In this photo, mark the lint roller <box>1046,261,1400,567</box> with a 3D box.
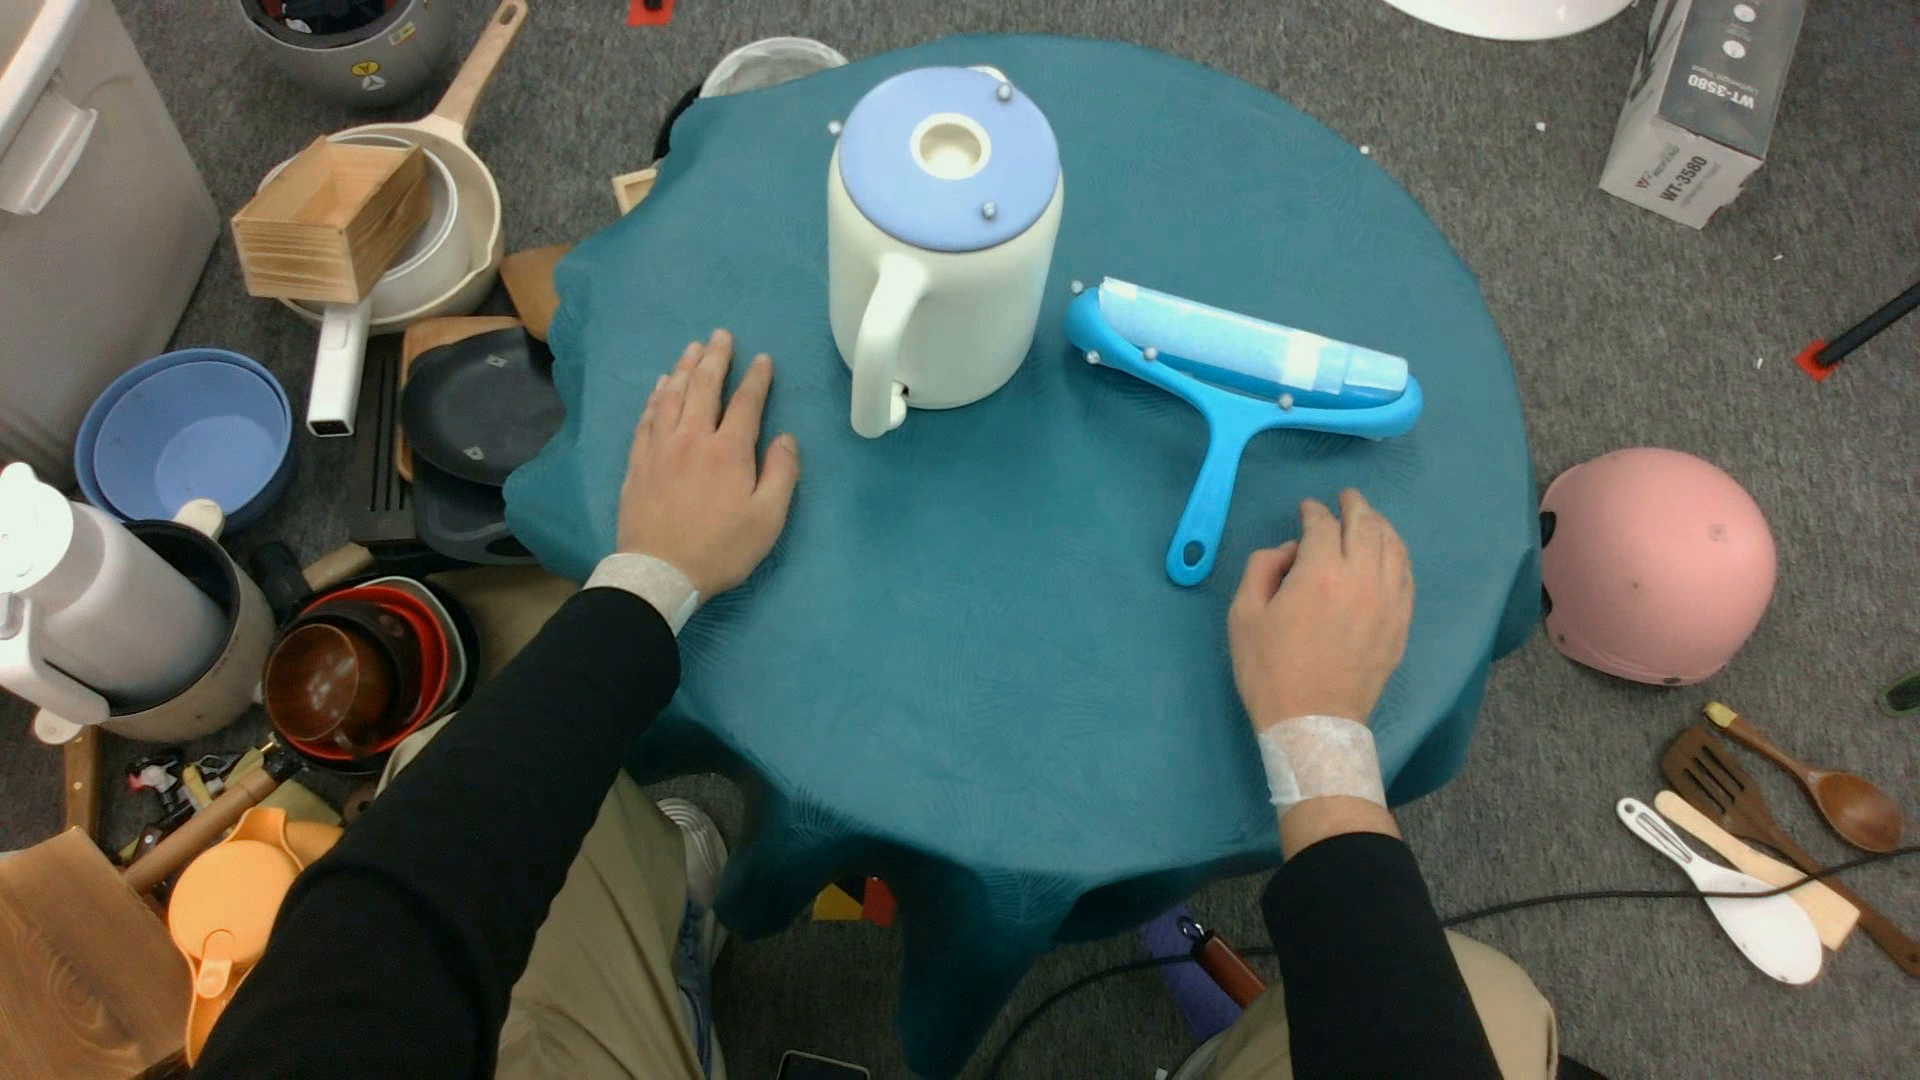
[{"bbox_3d":[0.152,-0.073,0.837,0.229,0.067,0.181,15,61,-2],"label":"lint roller"}]

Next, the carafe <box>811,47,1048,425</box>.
[{"bbox_3d":[-0.028,-0.160,0.797,0.132,0.182,0.192,18,69,3],"label":"carafe"}]
